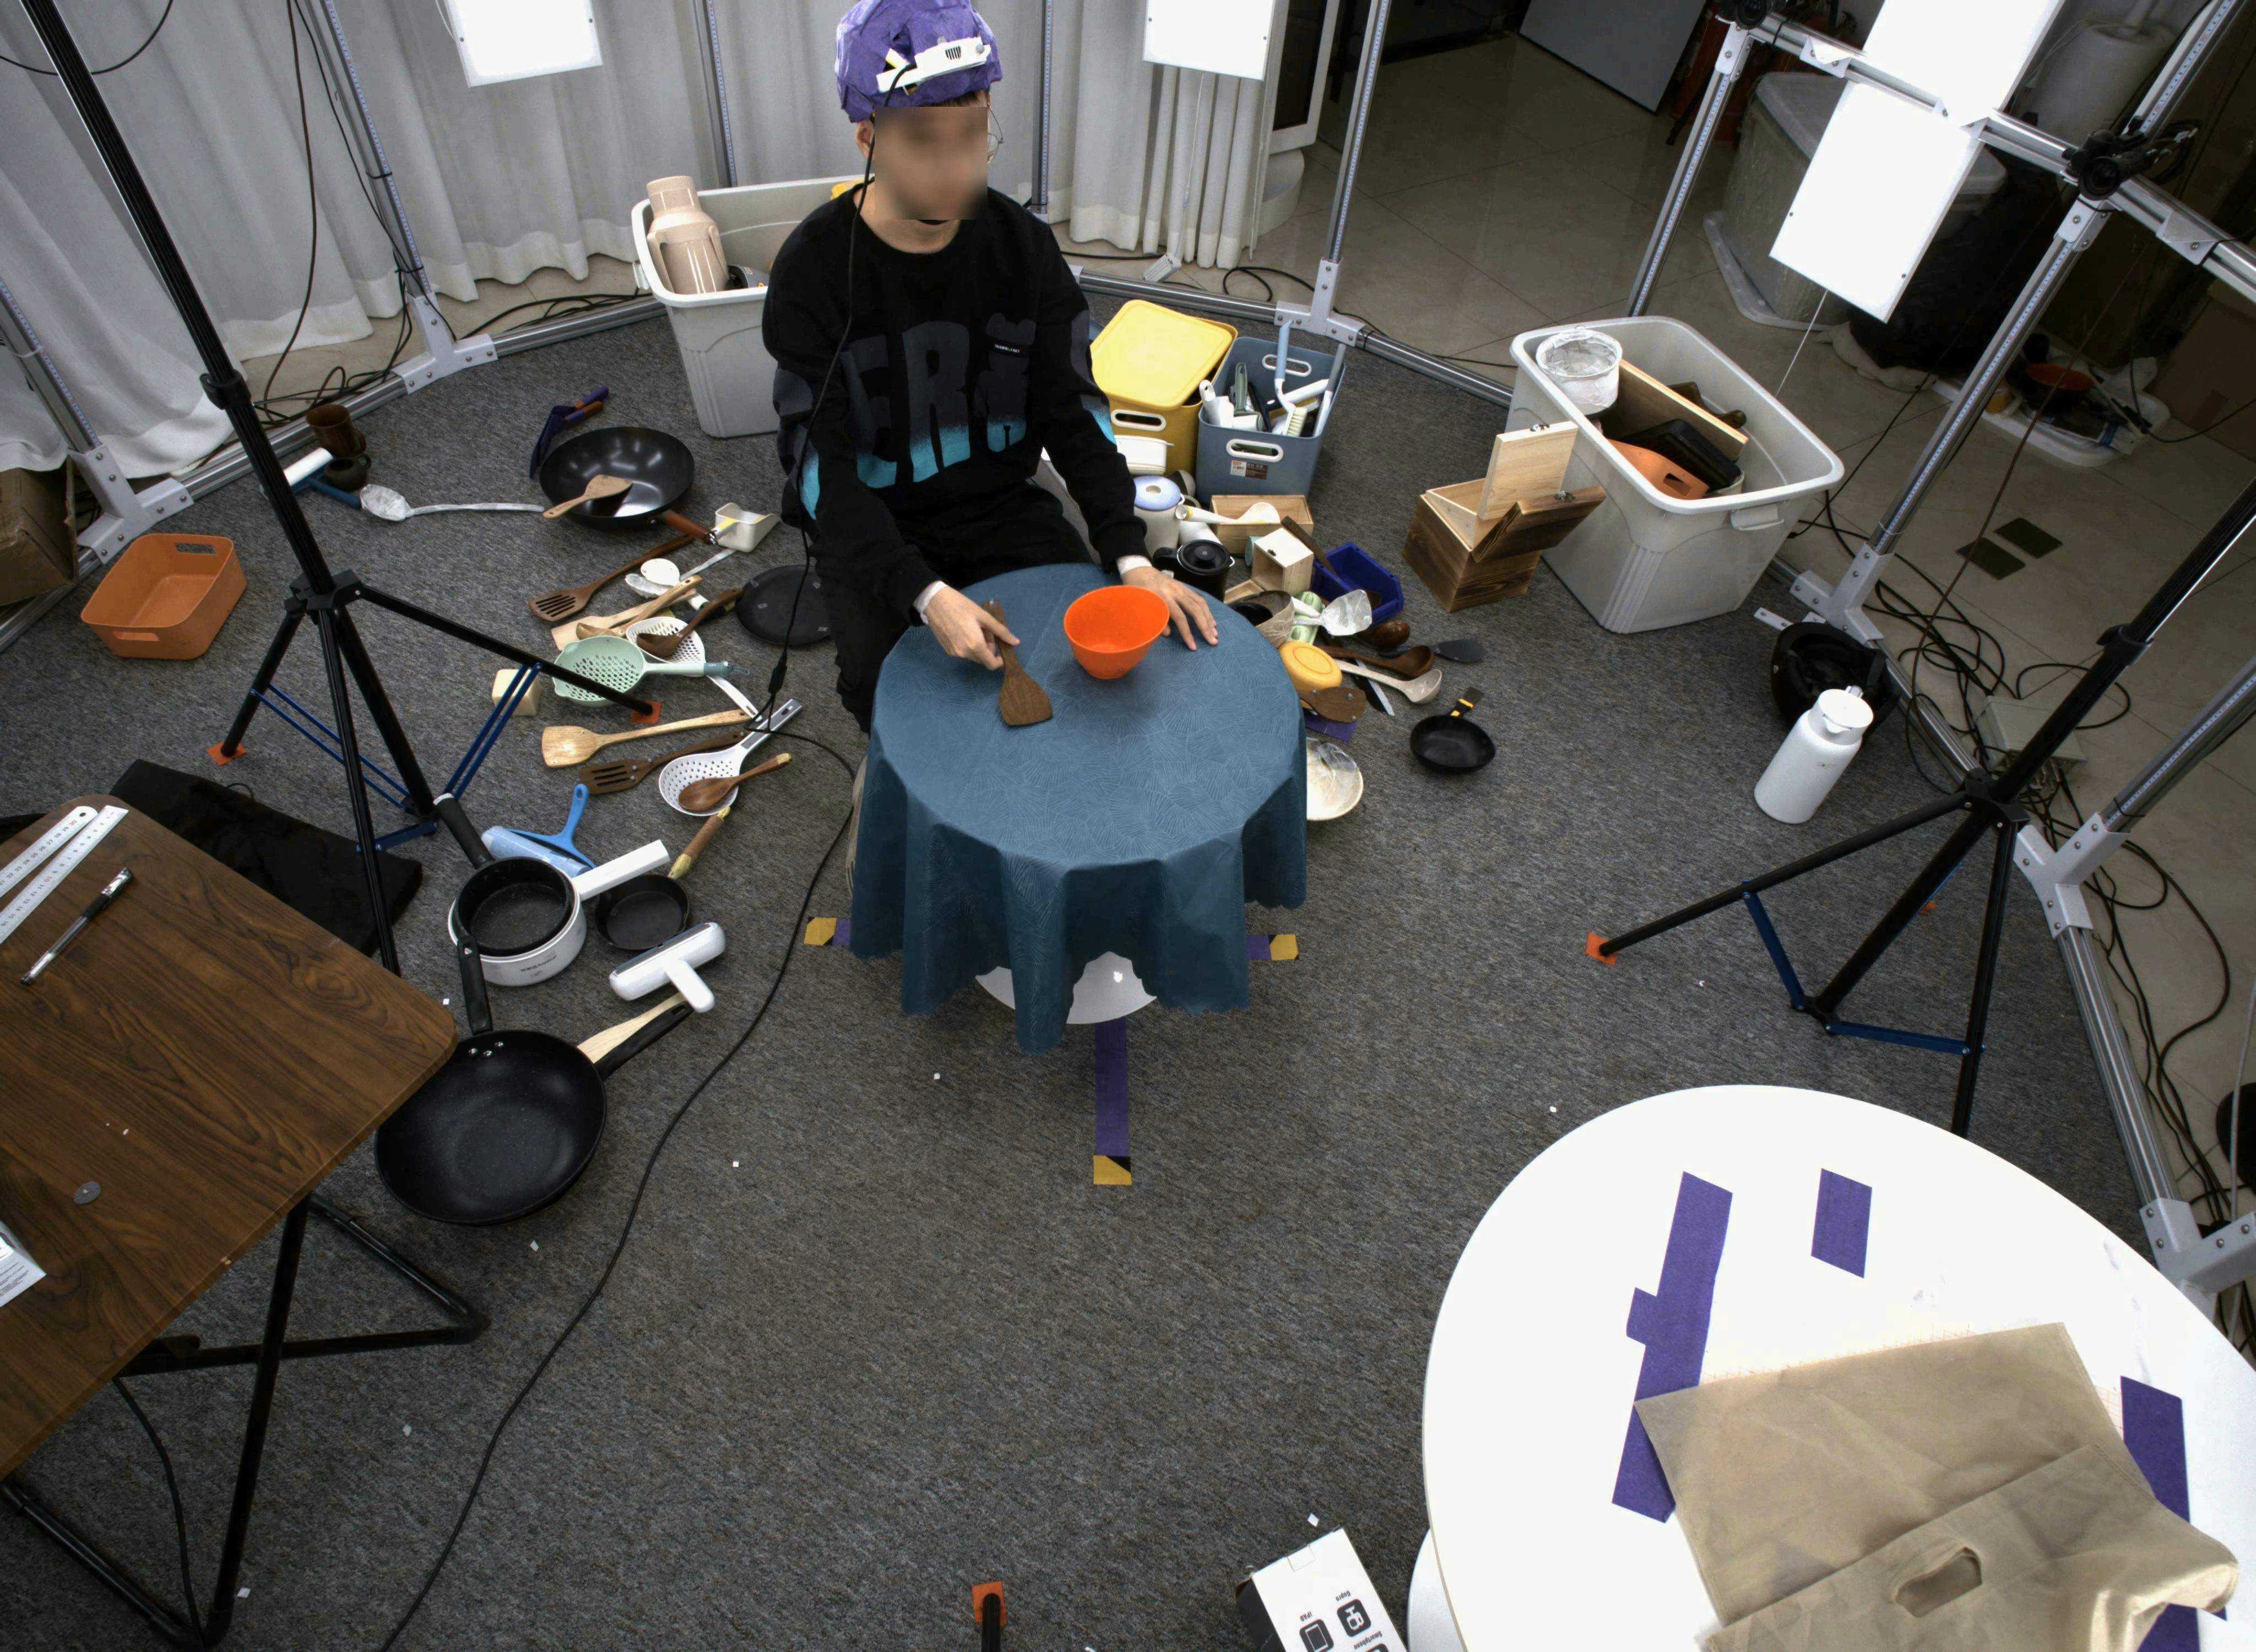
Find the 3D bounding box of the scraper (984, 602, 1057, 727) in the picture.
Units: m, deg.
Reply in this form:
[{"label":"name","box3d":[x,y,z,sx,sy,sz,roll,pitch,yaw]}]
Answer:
[{"label":"scraper","box3d":[-0.165,-0.233,1.840,0.076,0.010,0.215,-11,66,-19]}]

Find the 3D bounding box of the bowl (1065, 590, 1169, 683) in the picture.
[{"label":"bowl","box3d":[-0.018,-0.263,1.849,0.148,0.102,0.152,1,48,-1]}]
